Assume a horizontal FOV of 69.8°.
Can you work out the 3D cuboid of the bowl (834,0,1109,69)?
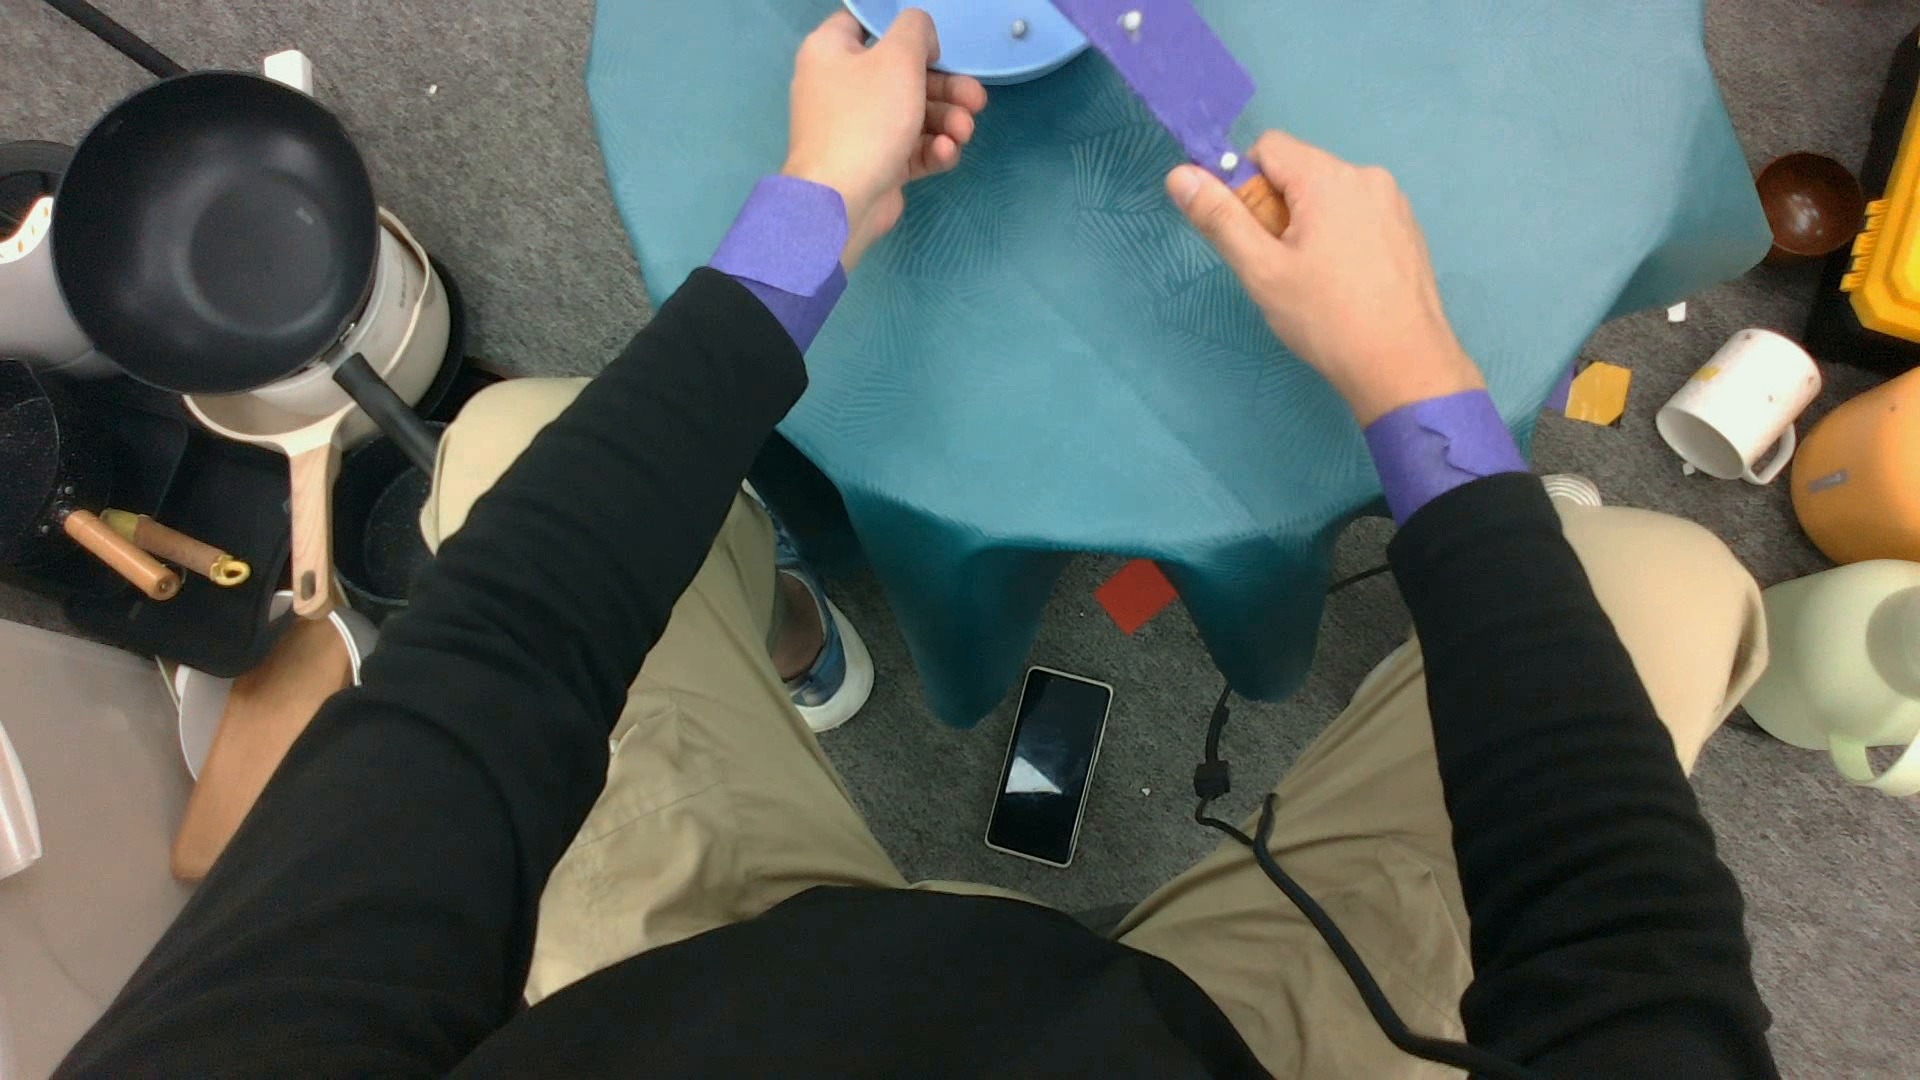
[{"bbox_3d":[0.011,-0.318,0.724,0.176,0.070,0.176,-1,81,5],"label":"bowl"}]

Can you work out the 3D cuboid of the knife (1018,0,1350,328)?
[{"bbox_3d":[0.080,-0.235,0.646,0.315,0.032,0.104,44,48,-15],"label":"knife"}]
